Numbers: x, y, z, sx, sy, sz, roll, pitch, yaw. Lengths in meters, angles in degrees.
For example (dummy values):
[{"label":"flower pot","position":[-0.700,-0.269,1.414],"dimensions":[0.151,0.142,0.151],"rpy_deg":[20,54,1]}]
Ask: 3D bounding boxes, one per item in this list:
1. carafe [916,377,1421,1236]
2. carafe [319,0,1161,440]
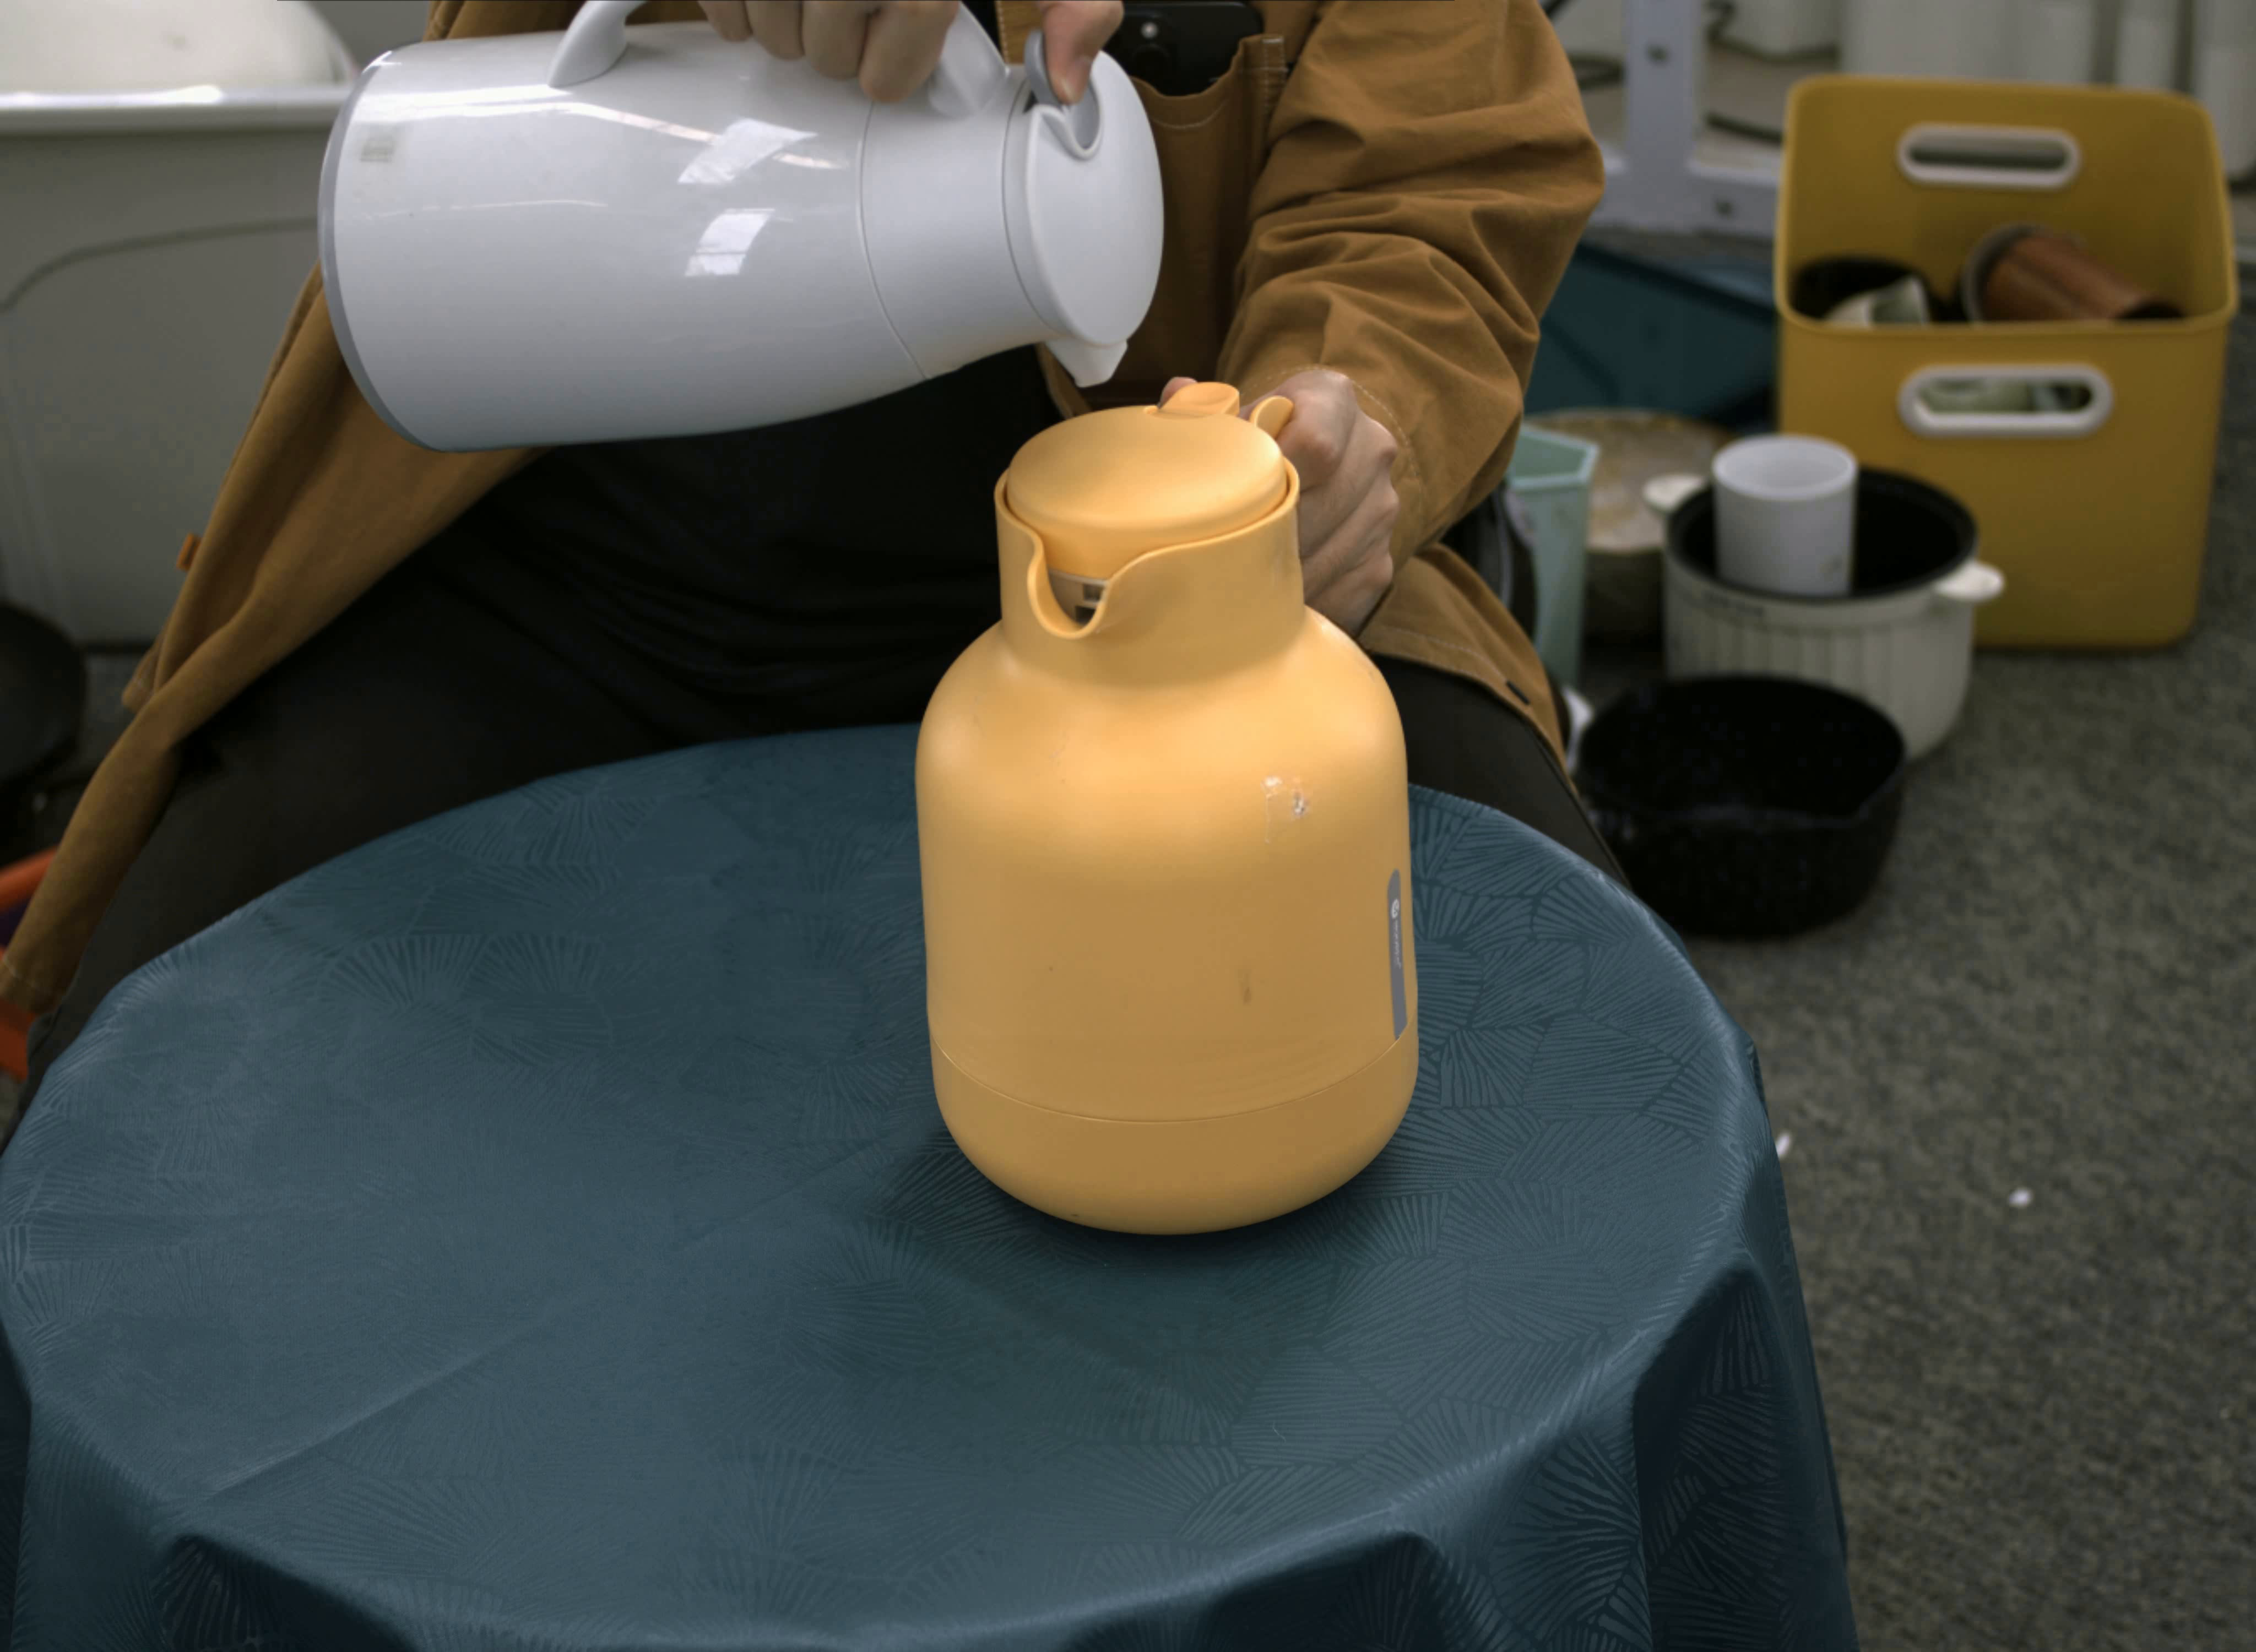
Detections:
[{"label":"carafe","position":[0.021,-0.015,1.844],"dimensions":[0.162,0.257,0.206],"rpy_deg":[10,30,21]},{"label":"carafe","position":[-0.120,-0.204,1.753],"dimensions":[0.246,0.166,0.135],"rpy_deg":[-1,40,25]}]
